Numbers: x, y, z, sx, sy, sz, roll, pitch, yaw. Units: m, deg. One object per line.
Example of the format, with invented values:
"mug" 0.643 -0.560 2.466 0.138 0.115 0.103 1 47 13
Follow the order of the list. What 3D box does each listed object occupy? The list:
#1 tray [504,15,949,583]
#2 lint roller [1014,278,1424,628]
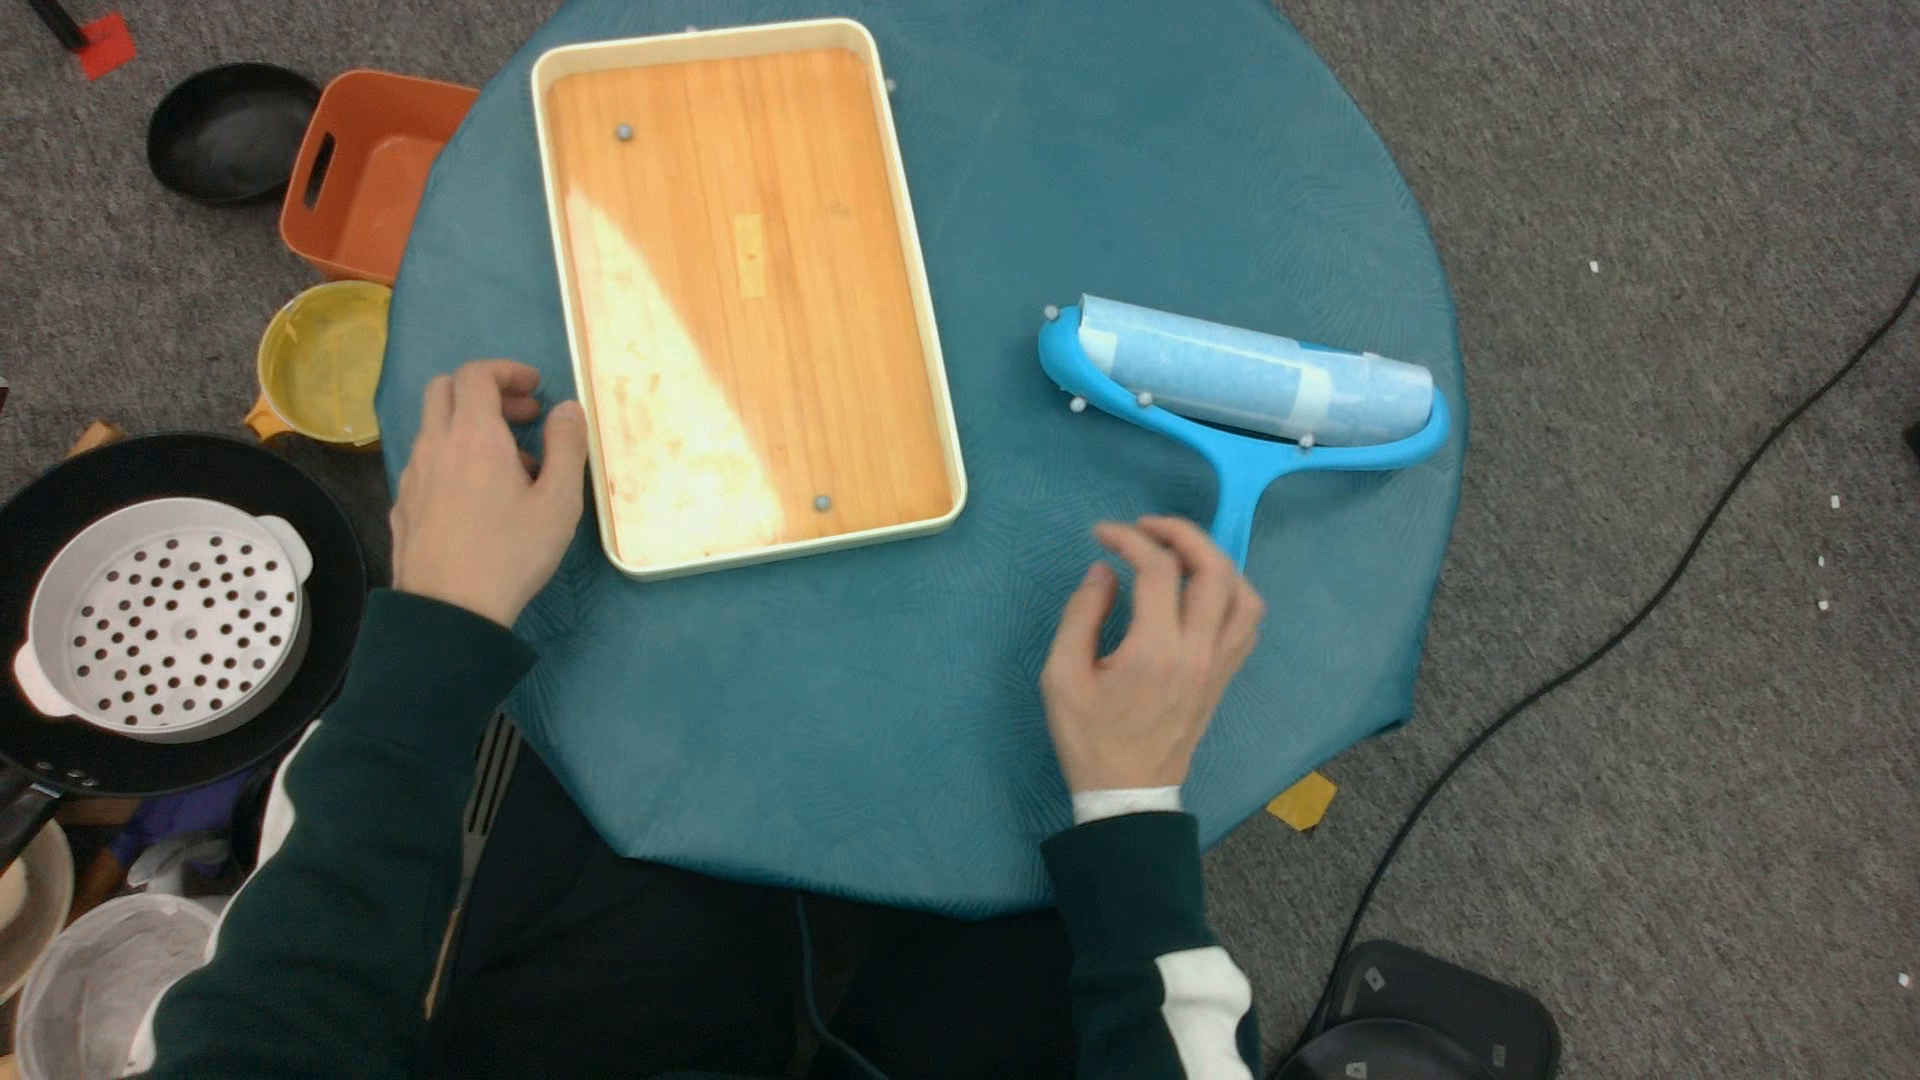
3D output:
"tray" -0.128 -0.137 0.746 0.192 0.027 0.301 -11 78 -9
"lint roller" 0.139 -0.045 0.742 0.229 0.068 0.180 6 75 -8
